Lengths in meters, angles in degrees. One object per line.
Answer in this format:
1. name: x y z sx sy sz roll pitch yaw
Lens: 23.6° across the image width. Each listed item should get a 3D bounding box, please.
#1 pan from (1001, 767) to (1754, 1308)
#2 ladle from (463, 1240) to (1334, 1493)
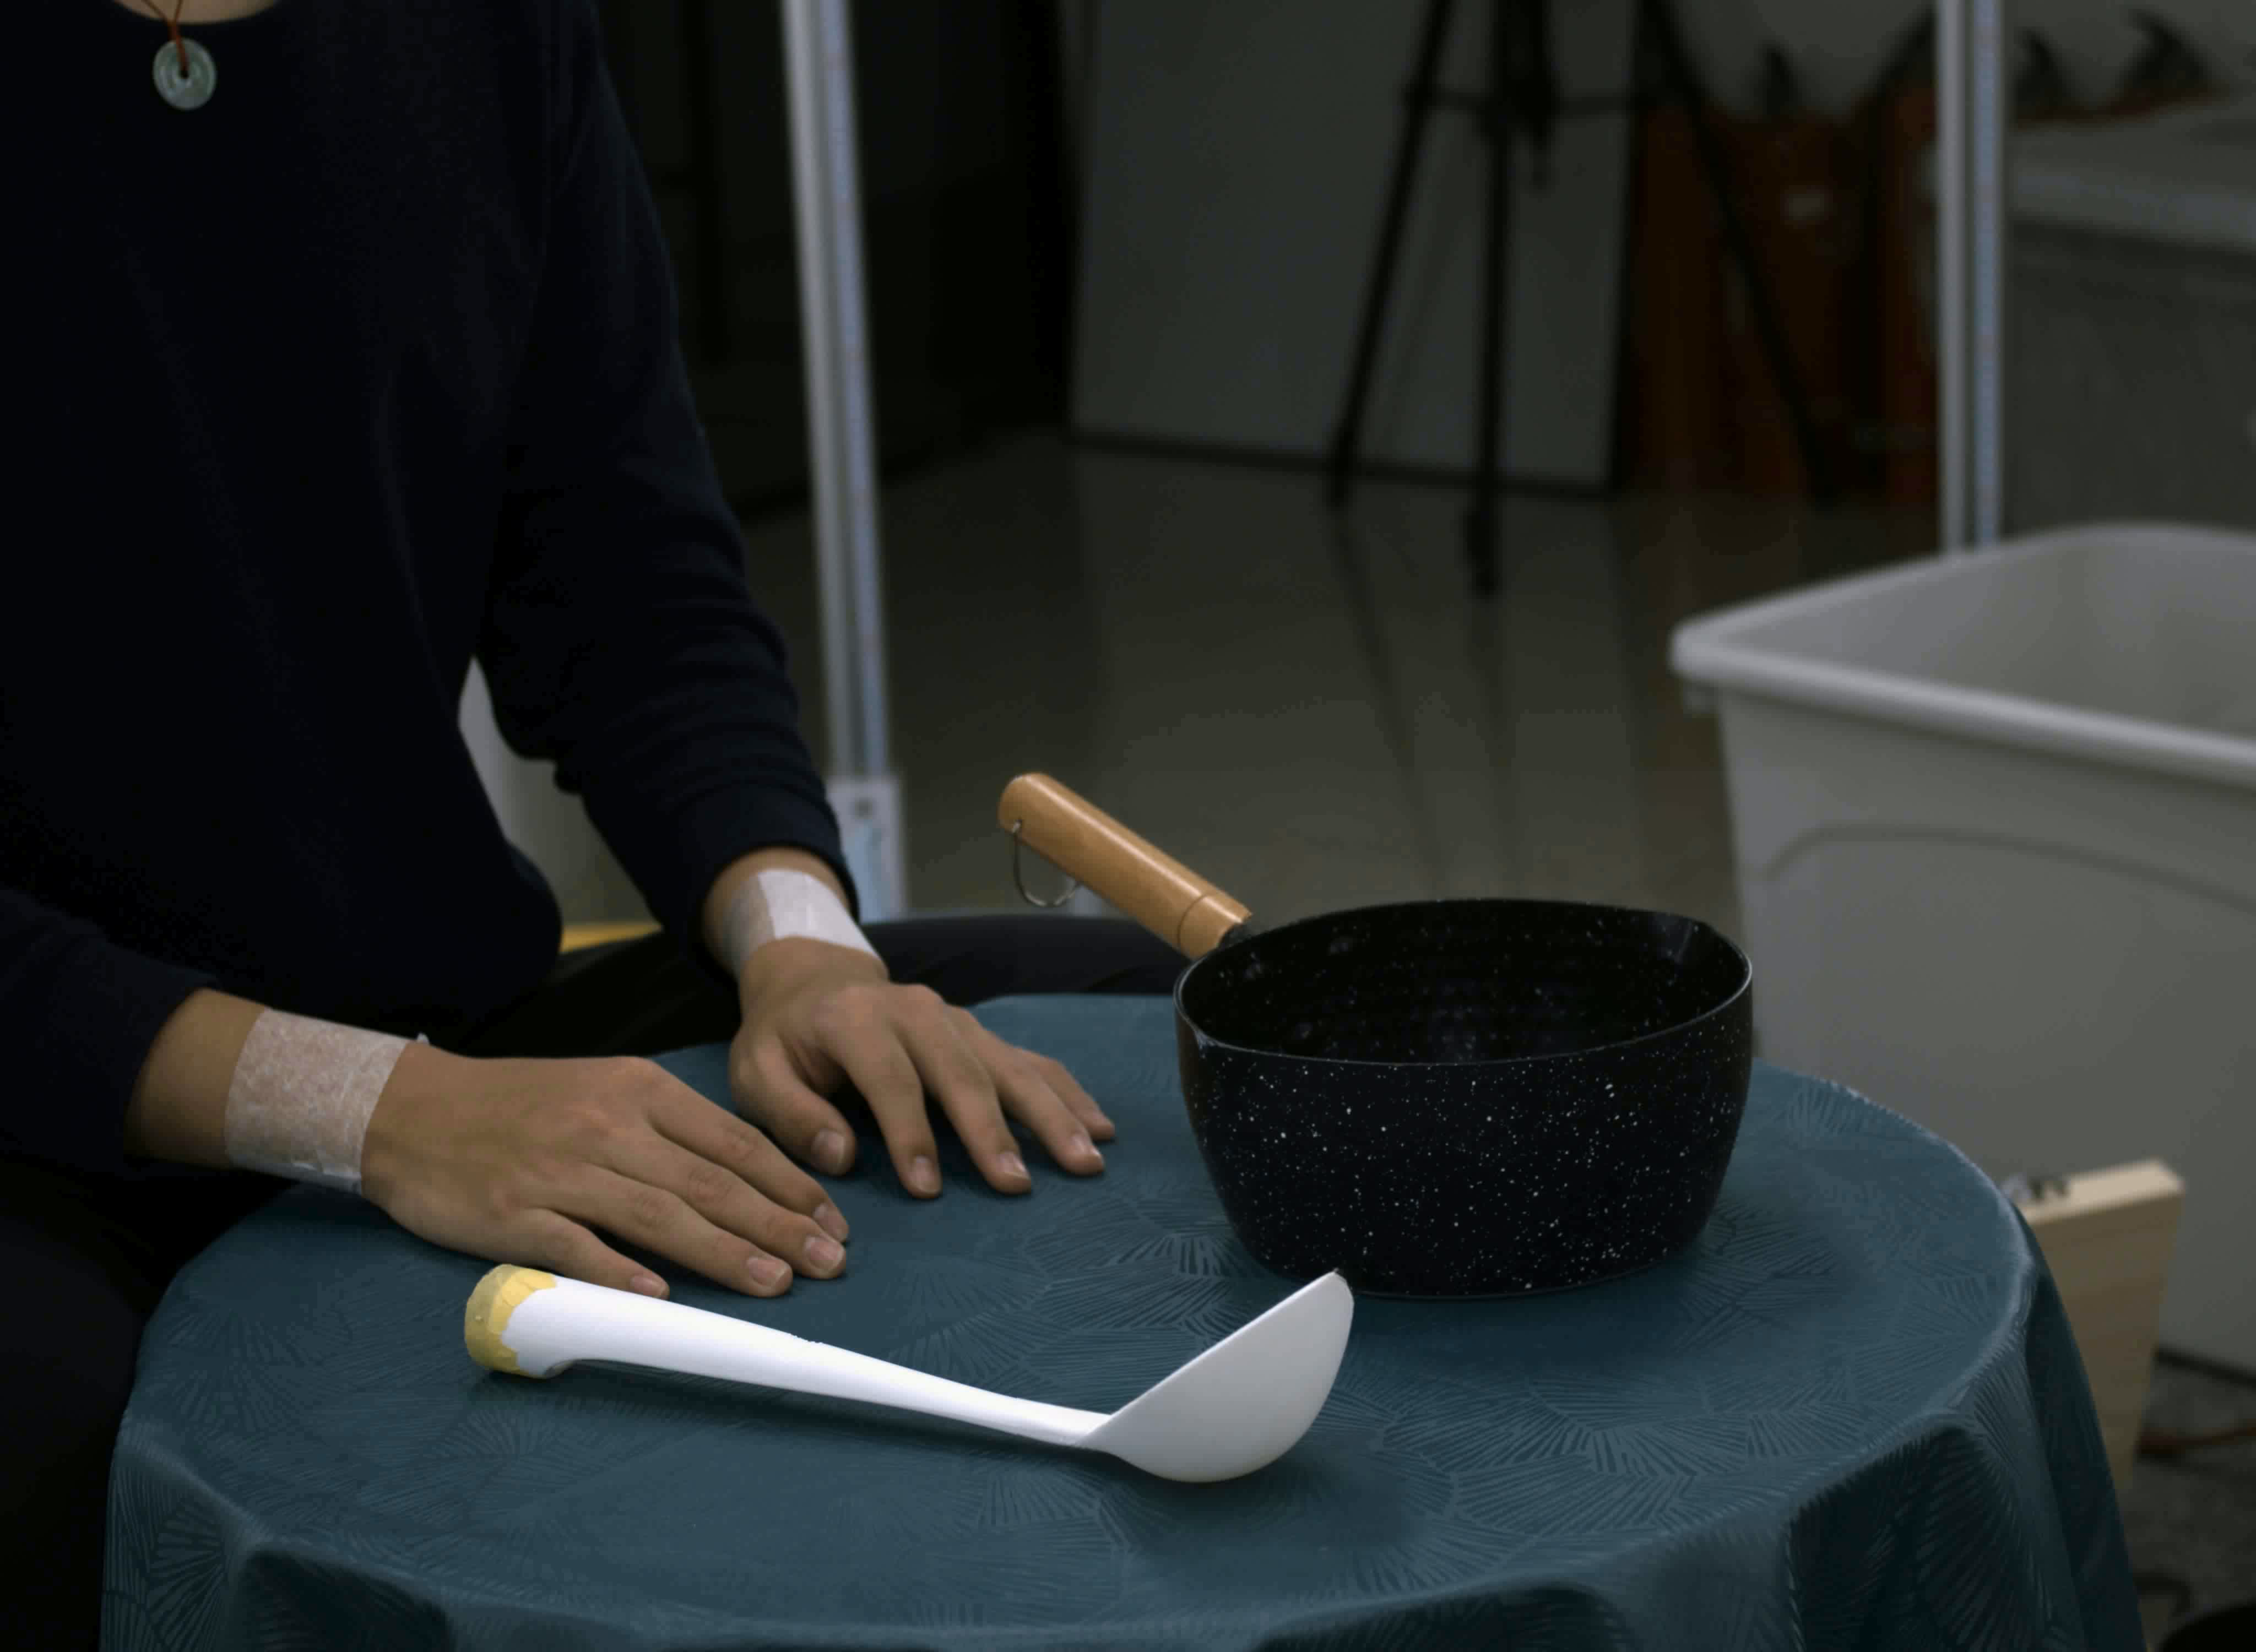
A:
1. pan: 0.060 0.062 1.764 0.203 0.109 0.346 -14 18 -33
2. ladle: -0.072 0.146 1.554 0.294 0.070 0.089 4 22 32
